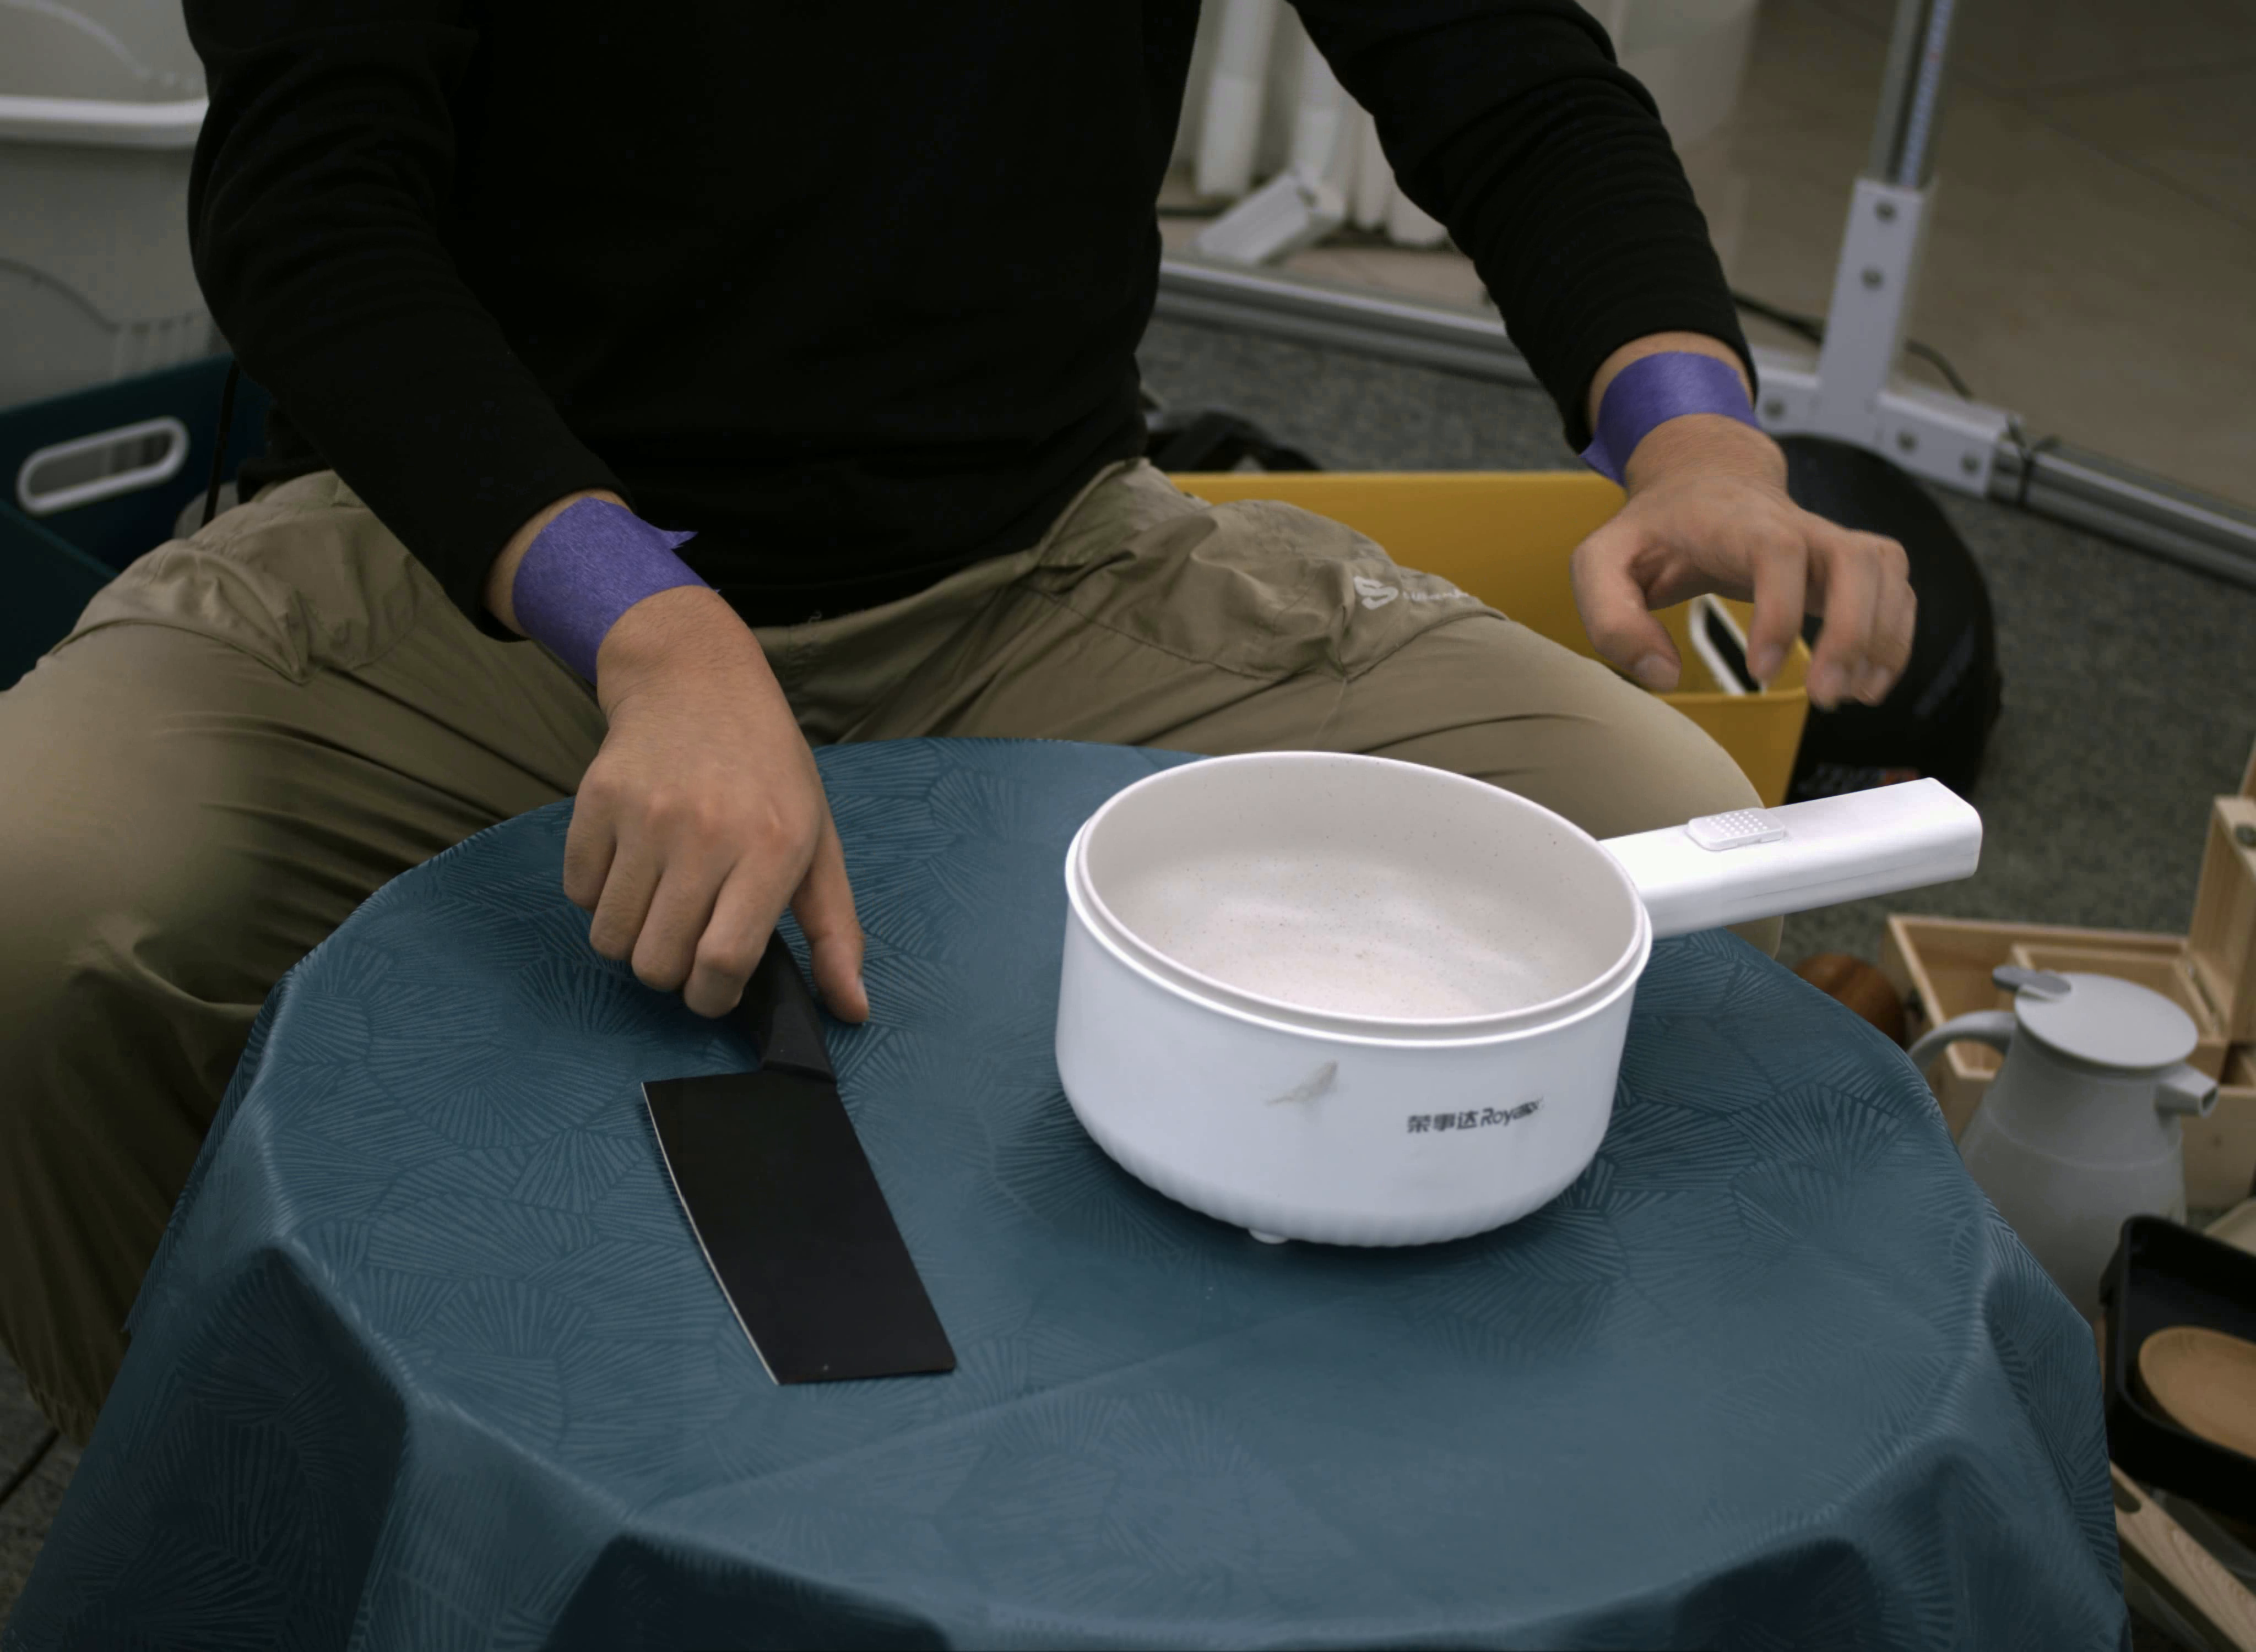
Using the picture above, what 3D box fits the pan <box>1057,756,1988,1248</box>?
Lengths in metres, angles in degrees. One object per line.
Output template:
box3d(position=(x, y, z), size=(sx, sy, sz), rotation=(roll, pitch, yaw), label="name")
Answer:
box3d(position=(0.141, 0.056, 1.866), size=(0.352, 0.102, 0.203), rotation=(-7, 29, -28), label="pan")

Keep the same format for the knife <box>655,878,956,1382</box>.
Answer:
box3d(position=(-0.121, 0.100, 1.809), size=(0.080, 0.021, 0.305), rotation=(-1, 30, -12), label="knife")
